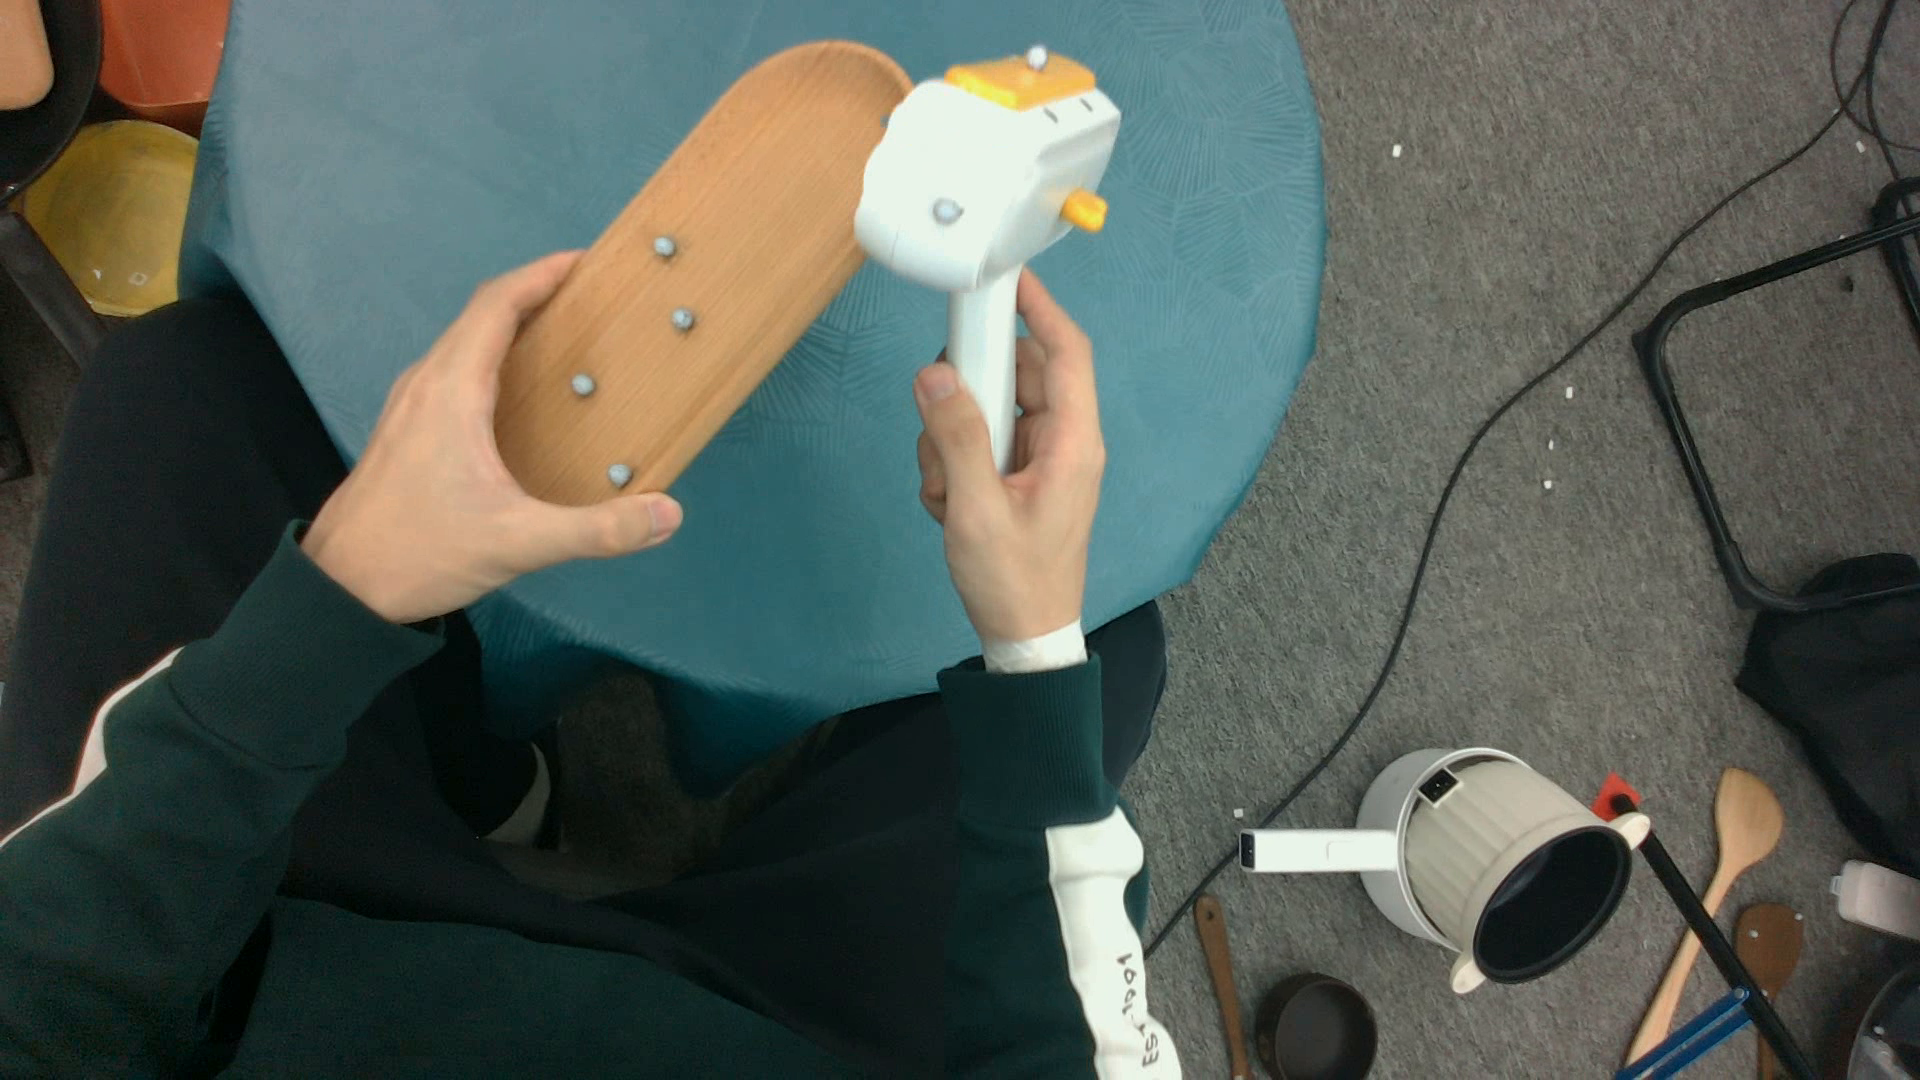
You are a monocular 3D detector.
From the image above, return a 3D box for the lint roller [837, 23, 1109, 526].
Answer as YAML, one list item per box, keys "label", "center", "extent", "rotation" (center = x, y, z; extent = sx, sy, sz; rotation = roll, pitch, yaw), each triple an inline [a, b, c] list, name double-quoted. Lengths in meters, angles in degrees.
- label: "lint roller"
  center: [0.004, -0.097, 0.543]
  extent: [0.074, 0.194, 0.191]
  rotation: [17, 118, 6]

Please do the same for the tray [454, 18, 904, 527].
- label: "tray"
  center: [-0.108, -0.104, 0.531]
  extent: [0.102, 0.020, 0.231]
  rotation: [38, 87, 25]
